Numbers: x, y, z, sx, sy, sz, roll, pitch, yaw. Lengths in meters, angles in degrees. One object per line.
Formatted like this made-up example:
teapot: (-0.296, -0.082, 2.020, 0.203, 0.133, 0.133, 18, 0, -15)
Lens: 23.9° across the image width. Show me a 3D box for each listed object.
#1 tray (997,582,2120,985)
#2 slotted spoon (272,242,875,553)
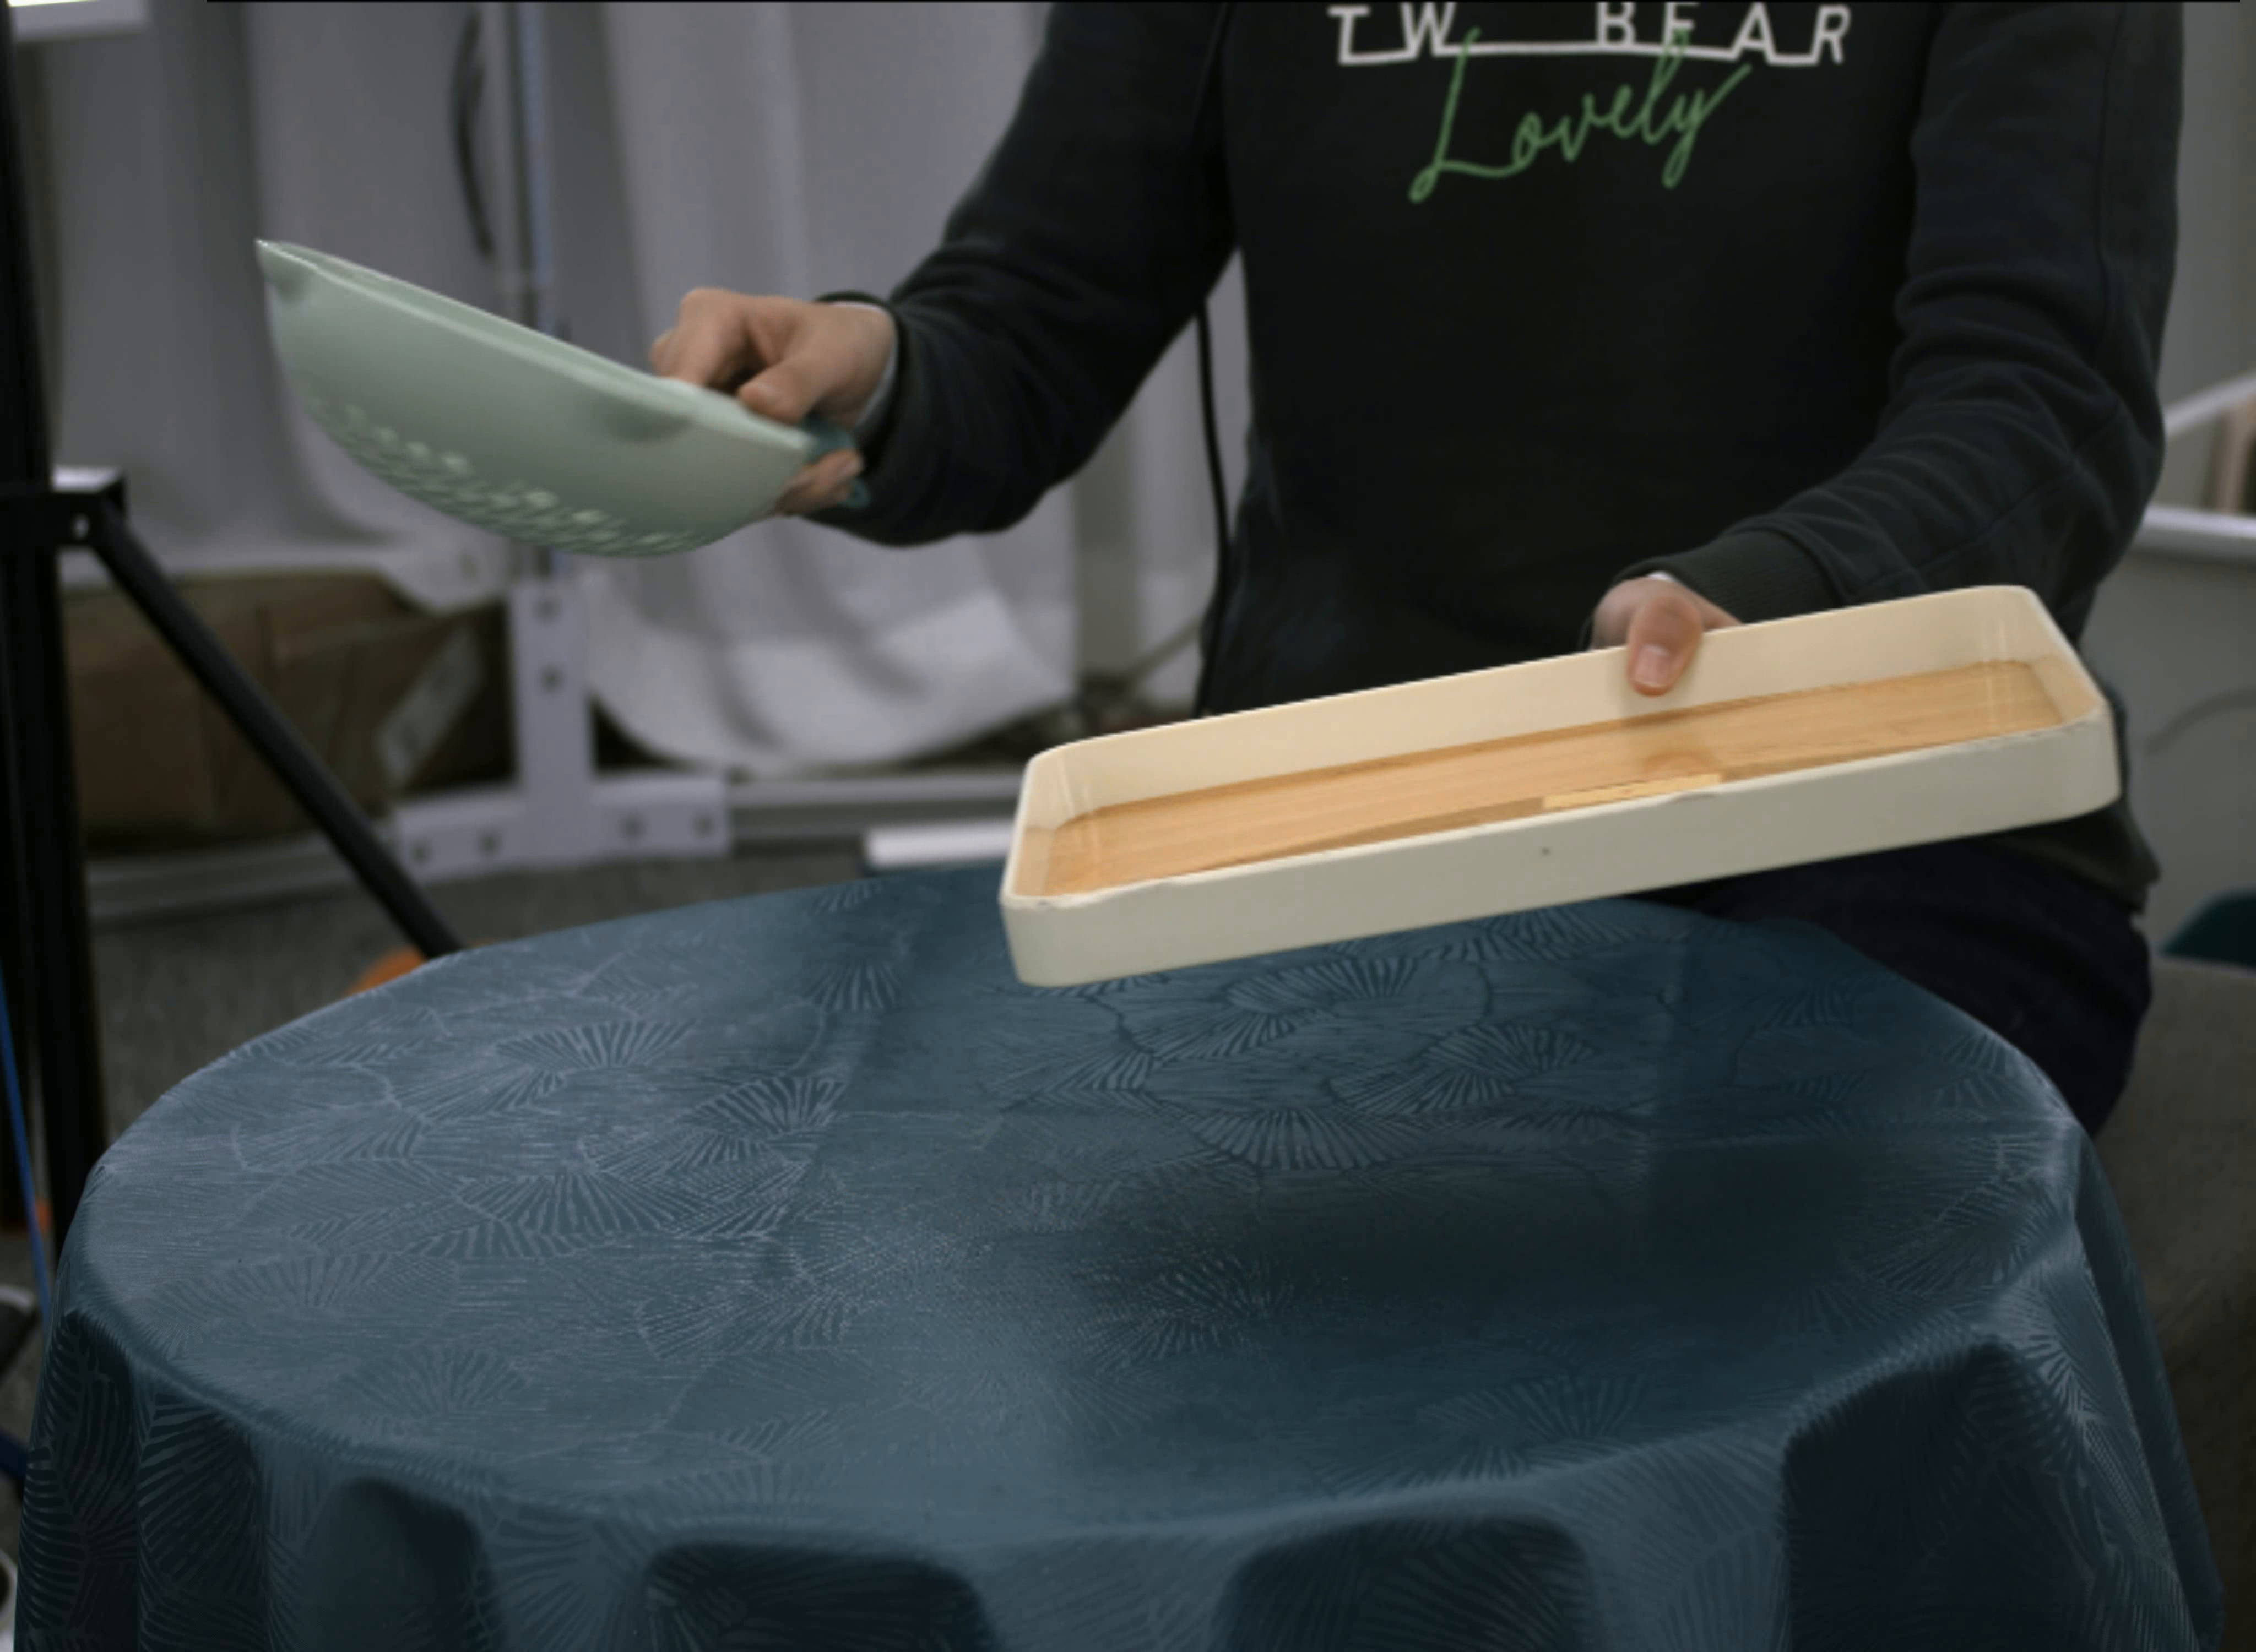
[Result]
tray: (0.116, -0.013, 1.477, 0.300, 0.027, 0.192, -9, 13, 6)
slotted spoon: (-0.143, -0.128, 1.670, 0.171, 0.075, 0.353, 21, 12, 17)
